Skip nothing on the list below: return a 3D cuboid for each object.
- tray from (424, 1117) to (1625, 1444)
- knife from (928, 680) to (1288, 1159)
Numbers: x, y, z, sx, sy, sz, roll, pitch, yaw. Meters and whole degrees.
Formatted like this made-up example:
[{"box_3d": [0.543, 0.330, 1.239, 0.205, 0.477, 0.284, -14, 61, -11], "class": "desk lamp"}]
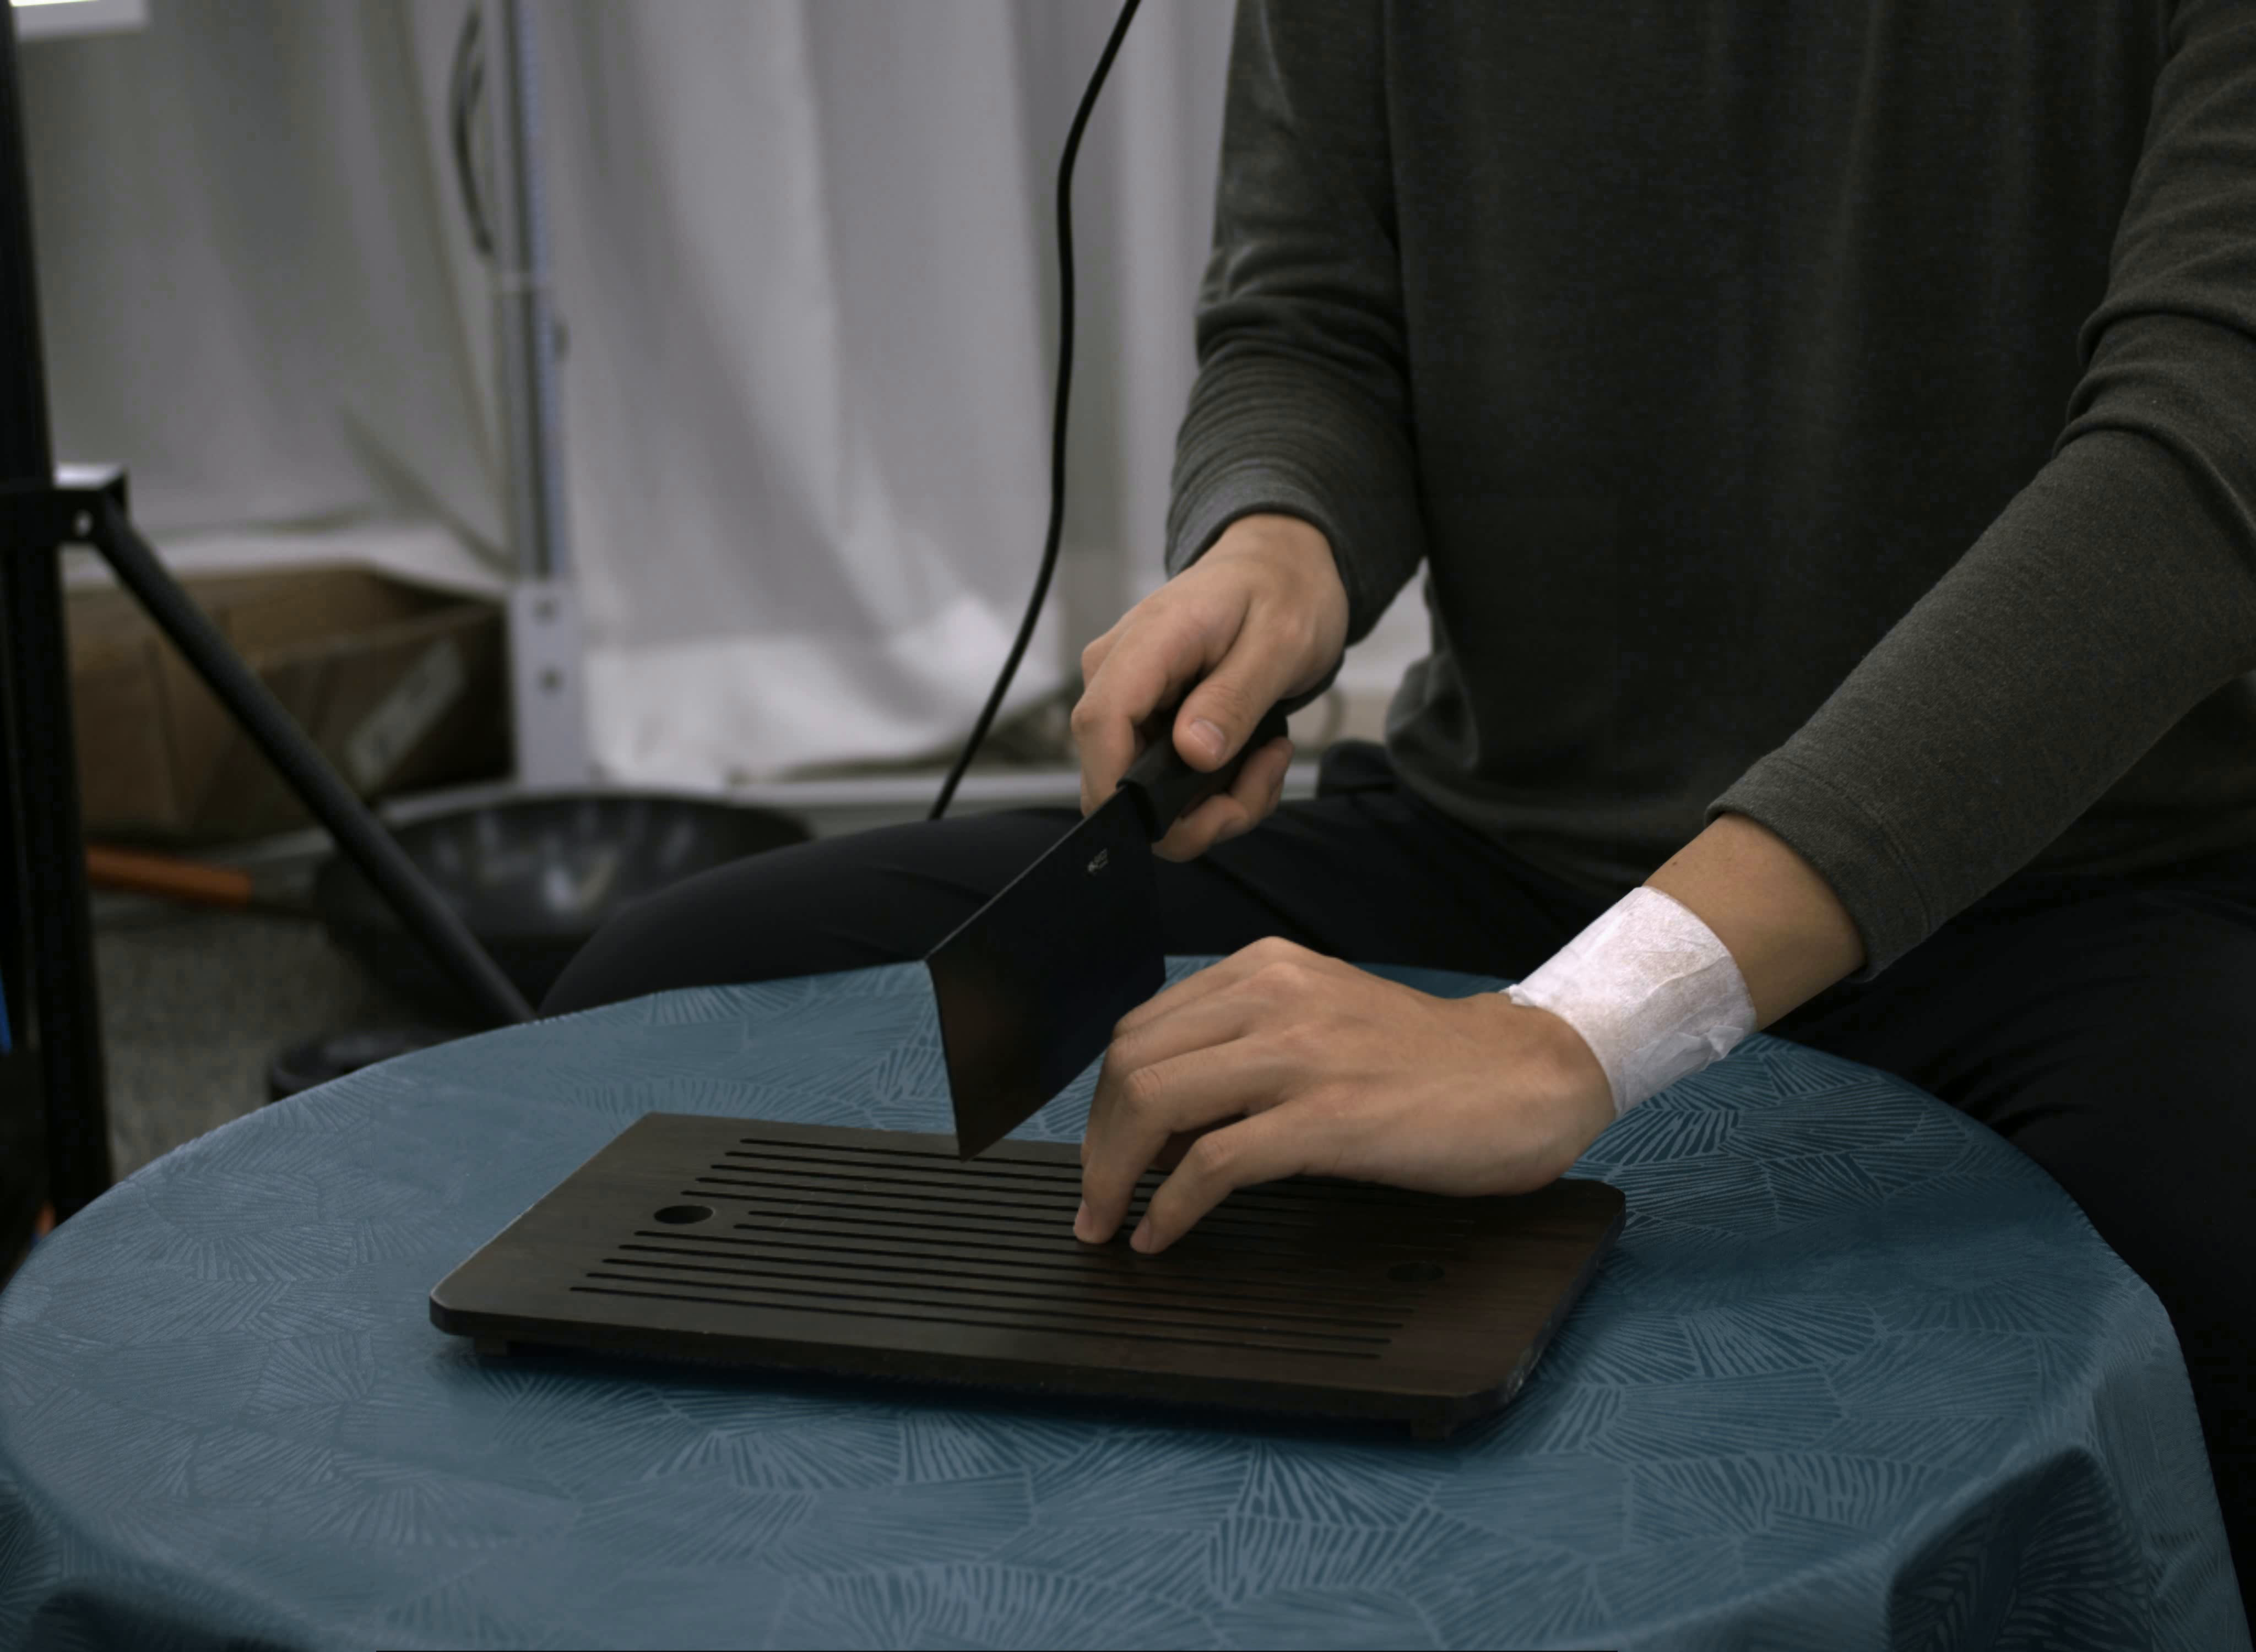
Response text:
[{"box_3d": [-0.026, 0.124, 1.474, 0.309, 0.018, 0.168, 4, 16, 19], "class": "tray"}, {"box_3d": [-0.003, 0.019, 1.553, 0.021, 0.081, 0.299, -3, 19, 20], "class": "knife"}]
